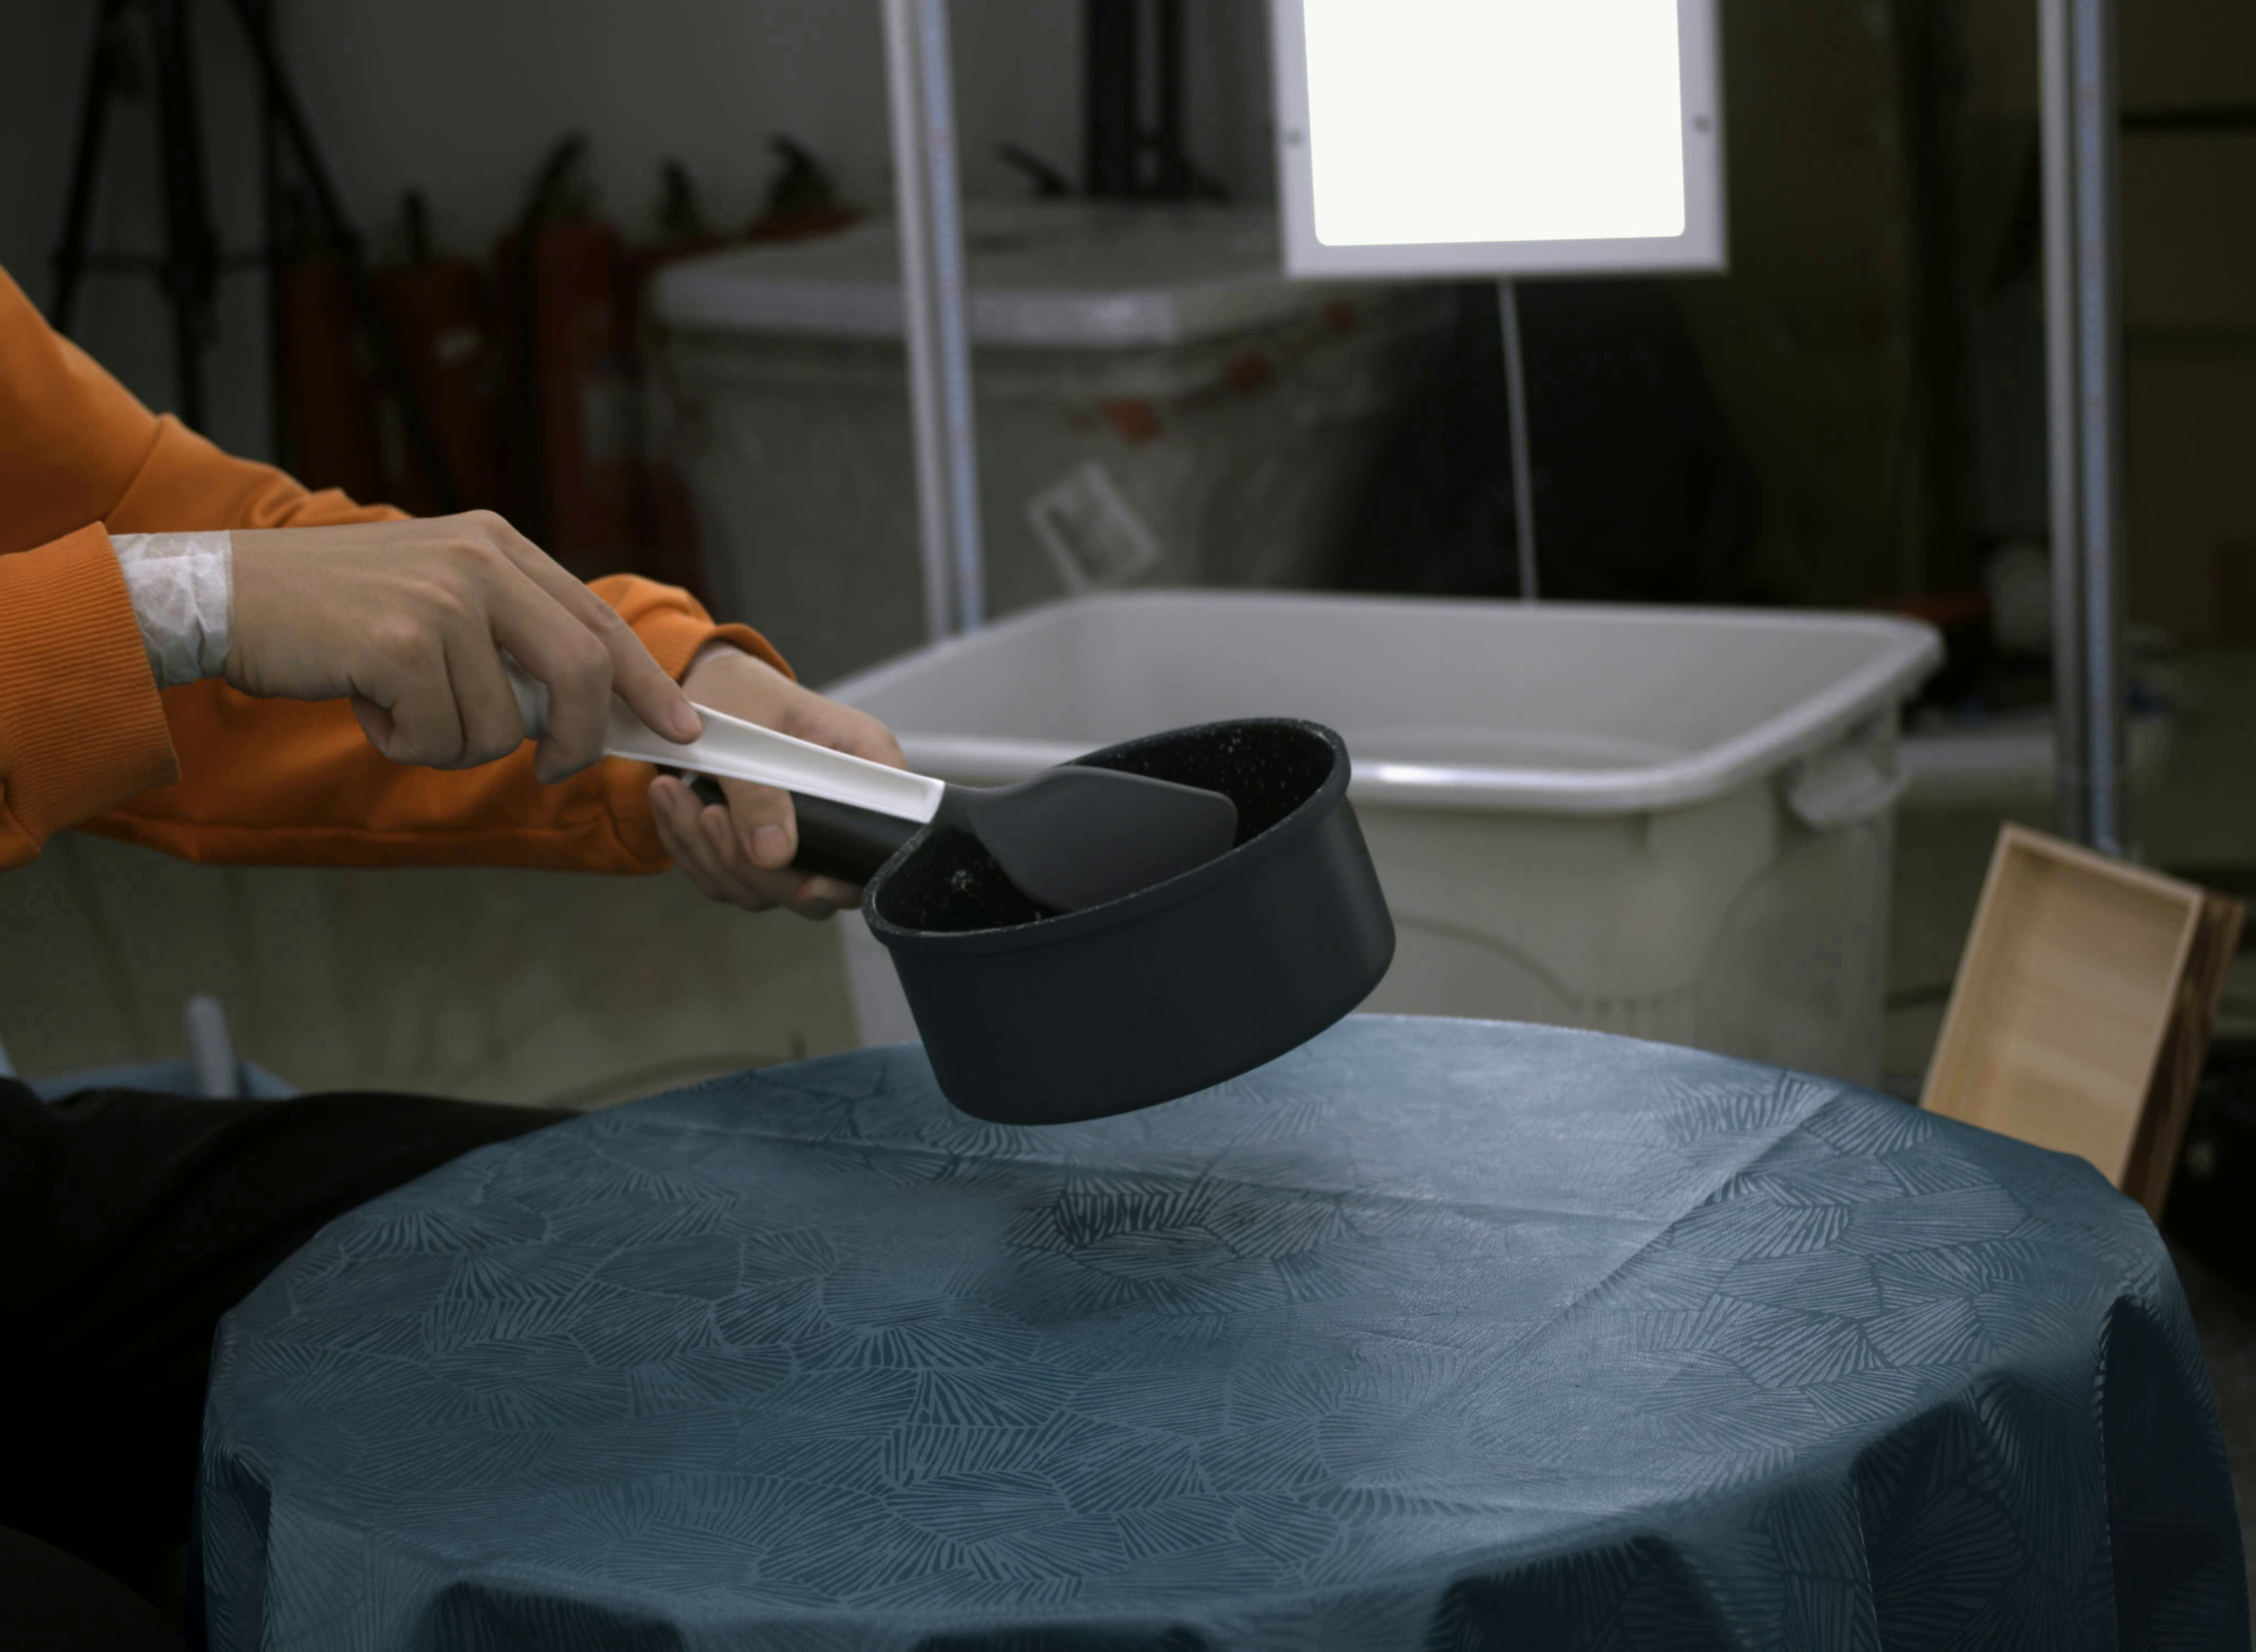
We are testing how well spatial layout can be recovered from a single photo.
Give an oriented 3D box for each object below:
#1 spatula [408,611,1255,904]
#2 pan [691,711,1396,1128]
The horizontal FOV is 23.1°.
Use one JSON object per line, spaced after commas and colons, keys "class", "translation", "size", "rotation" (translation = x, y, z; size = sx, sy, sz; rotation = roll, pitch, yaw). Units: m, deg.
{"class": "spatula", "translation": [-0.095, -0.019, 1.821], "size": [0.285, 0.059, 0.032], "rotation": [15, -1, -10]}
{"class": "pan", "translation": [-0.045, 0.025, 1.910], "size": [0.168, 0.086, 0.335], "rotation": [-29, 20, -30]}
